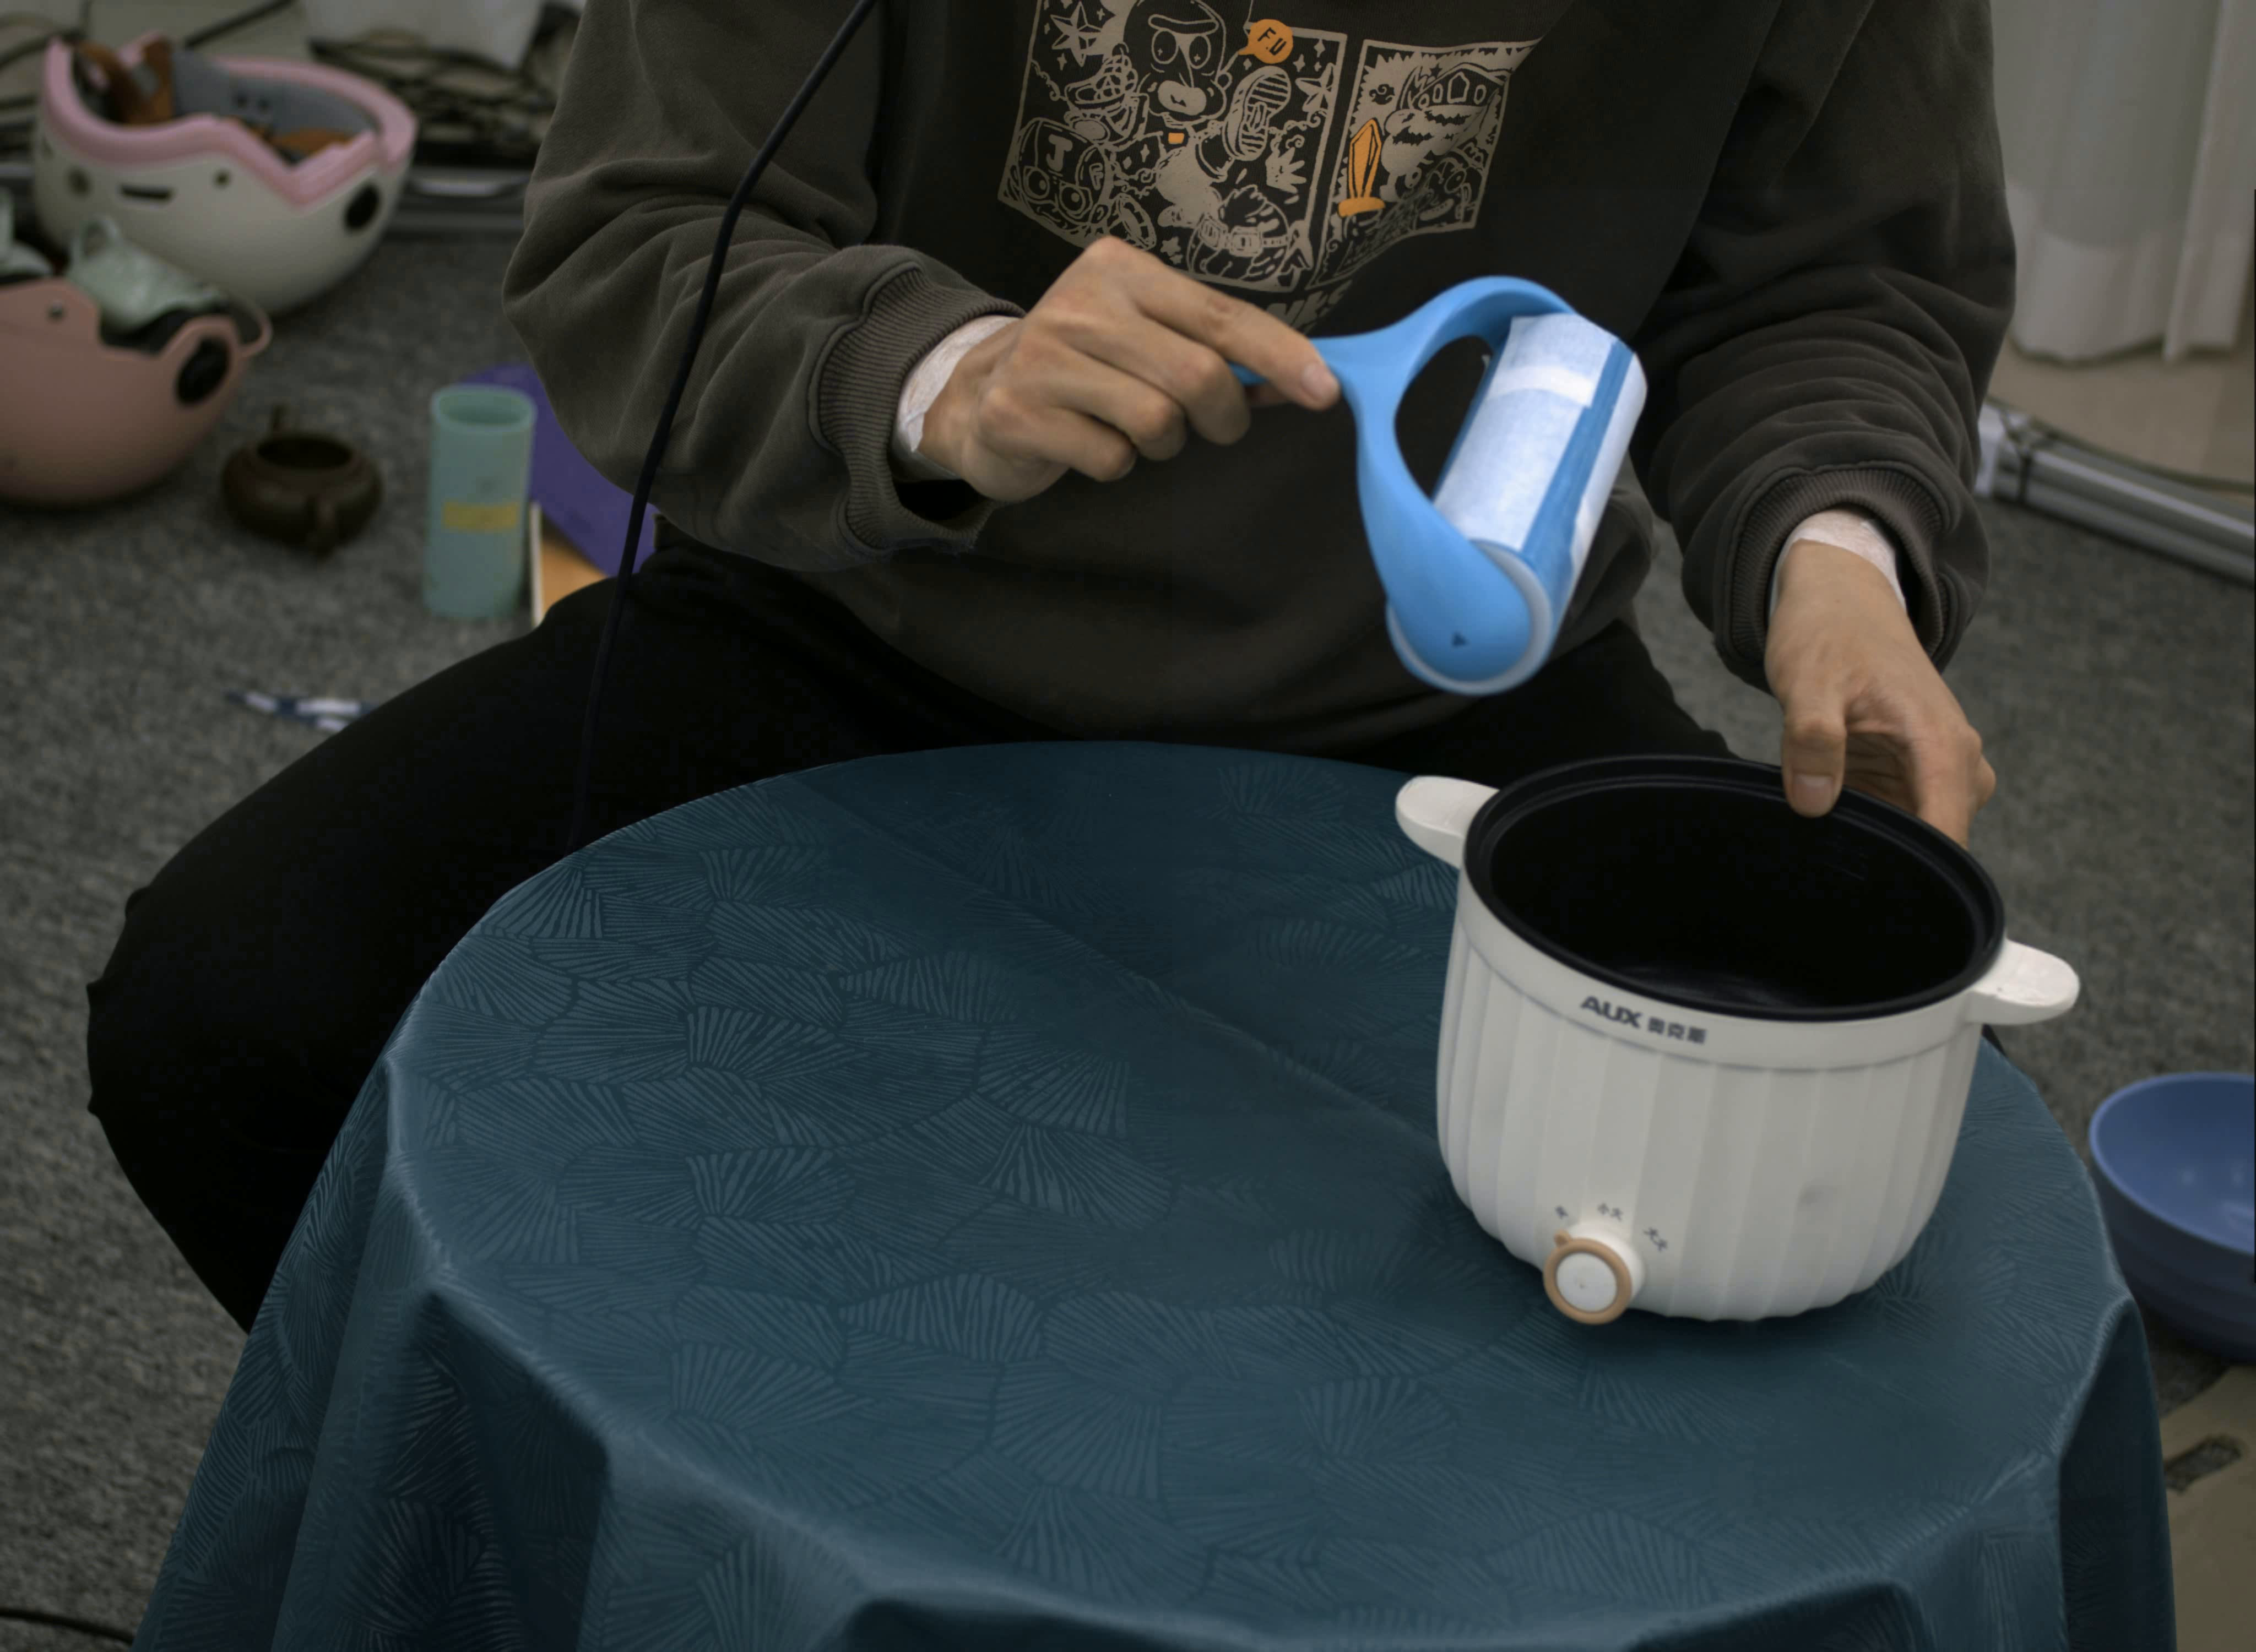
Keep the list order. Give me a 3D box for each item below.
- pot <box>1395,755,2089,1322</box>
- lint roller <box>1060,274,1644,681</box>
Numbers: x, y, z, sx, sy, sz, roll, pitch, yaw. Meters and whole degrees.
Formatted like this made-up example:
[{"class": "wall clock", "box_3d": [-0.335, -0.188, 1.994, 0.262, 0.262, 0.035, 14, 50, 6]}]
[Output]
[{"class": "pot", "box_3d": [0.193, 0.078, 1.784, 0.241, 0.142, 0.190, 15, 24, 19]}, {"class": "lint roller", "box_3d": [0.069, -0.126, 1.716, 0.180, 0.068, 0.230, 15, 29, 5]}]
